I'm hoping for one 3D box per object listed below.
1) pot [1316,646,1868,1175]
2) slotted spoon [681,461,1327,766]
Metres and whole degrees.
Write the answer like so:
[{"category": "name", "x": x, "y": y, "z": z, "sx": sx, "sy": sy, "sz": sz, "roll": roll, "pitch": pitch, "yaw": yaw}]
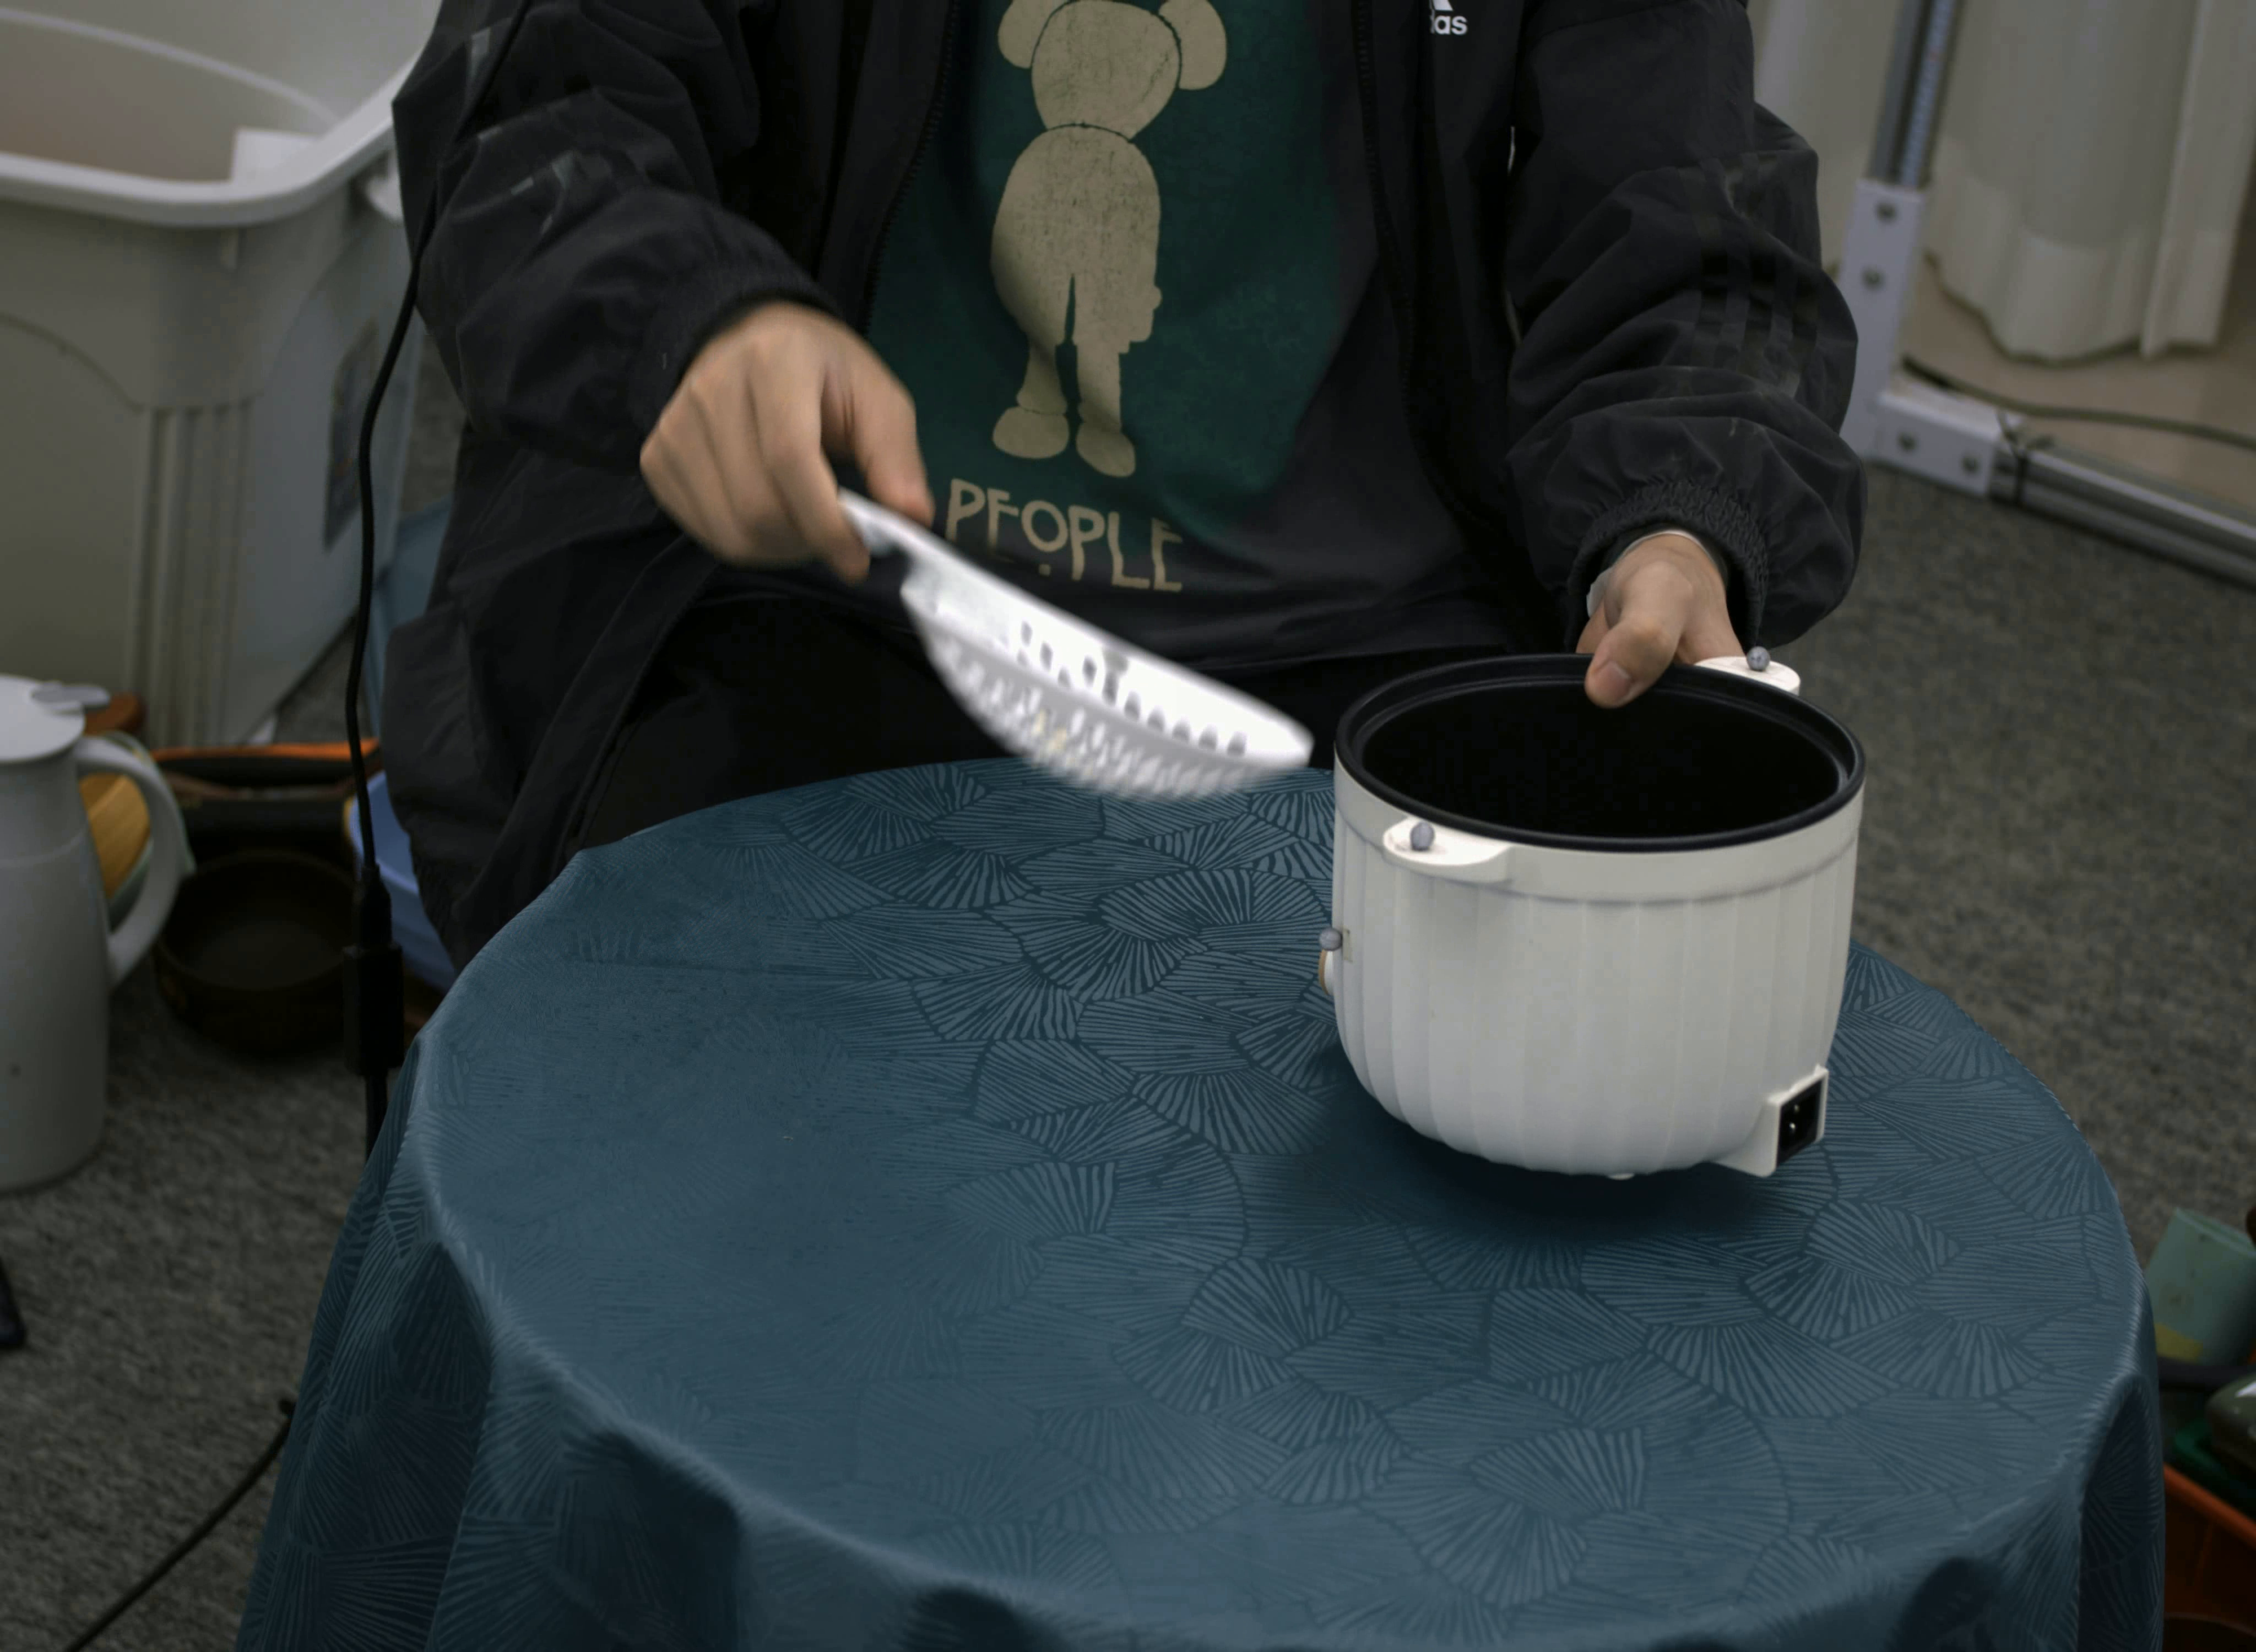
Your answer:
[{"category": "pot", "x": 0.154, "y": 0.031, "z": 1.841, "sx": 0.191, "sy": 0.142, "sz": 0.239, "roll": 19, "pitch": 26, "yaw": 31}, {"category": "slotted spoon", "x": -0.061, "y": -0.084, "z": 1.807, "sx": 0.135, "sy": 0.050, "sz": 0.351, "roll": 15, "pitch": 13, "yaw": -34}]
